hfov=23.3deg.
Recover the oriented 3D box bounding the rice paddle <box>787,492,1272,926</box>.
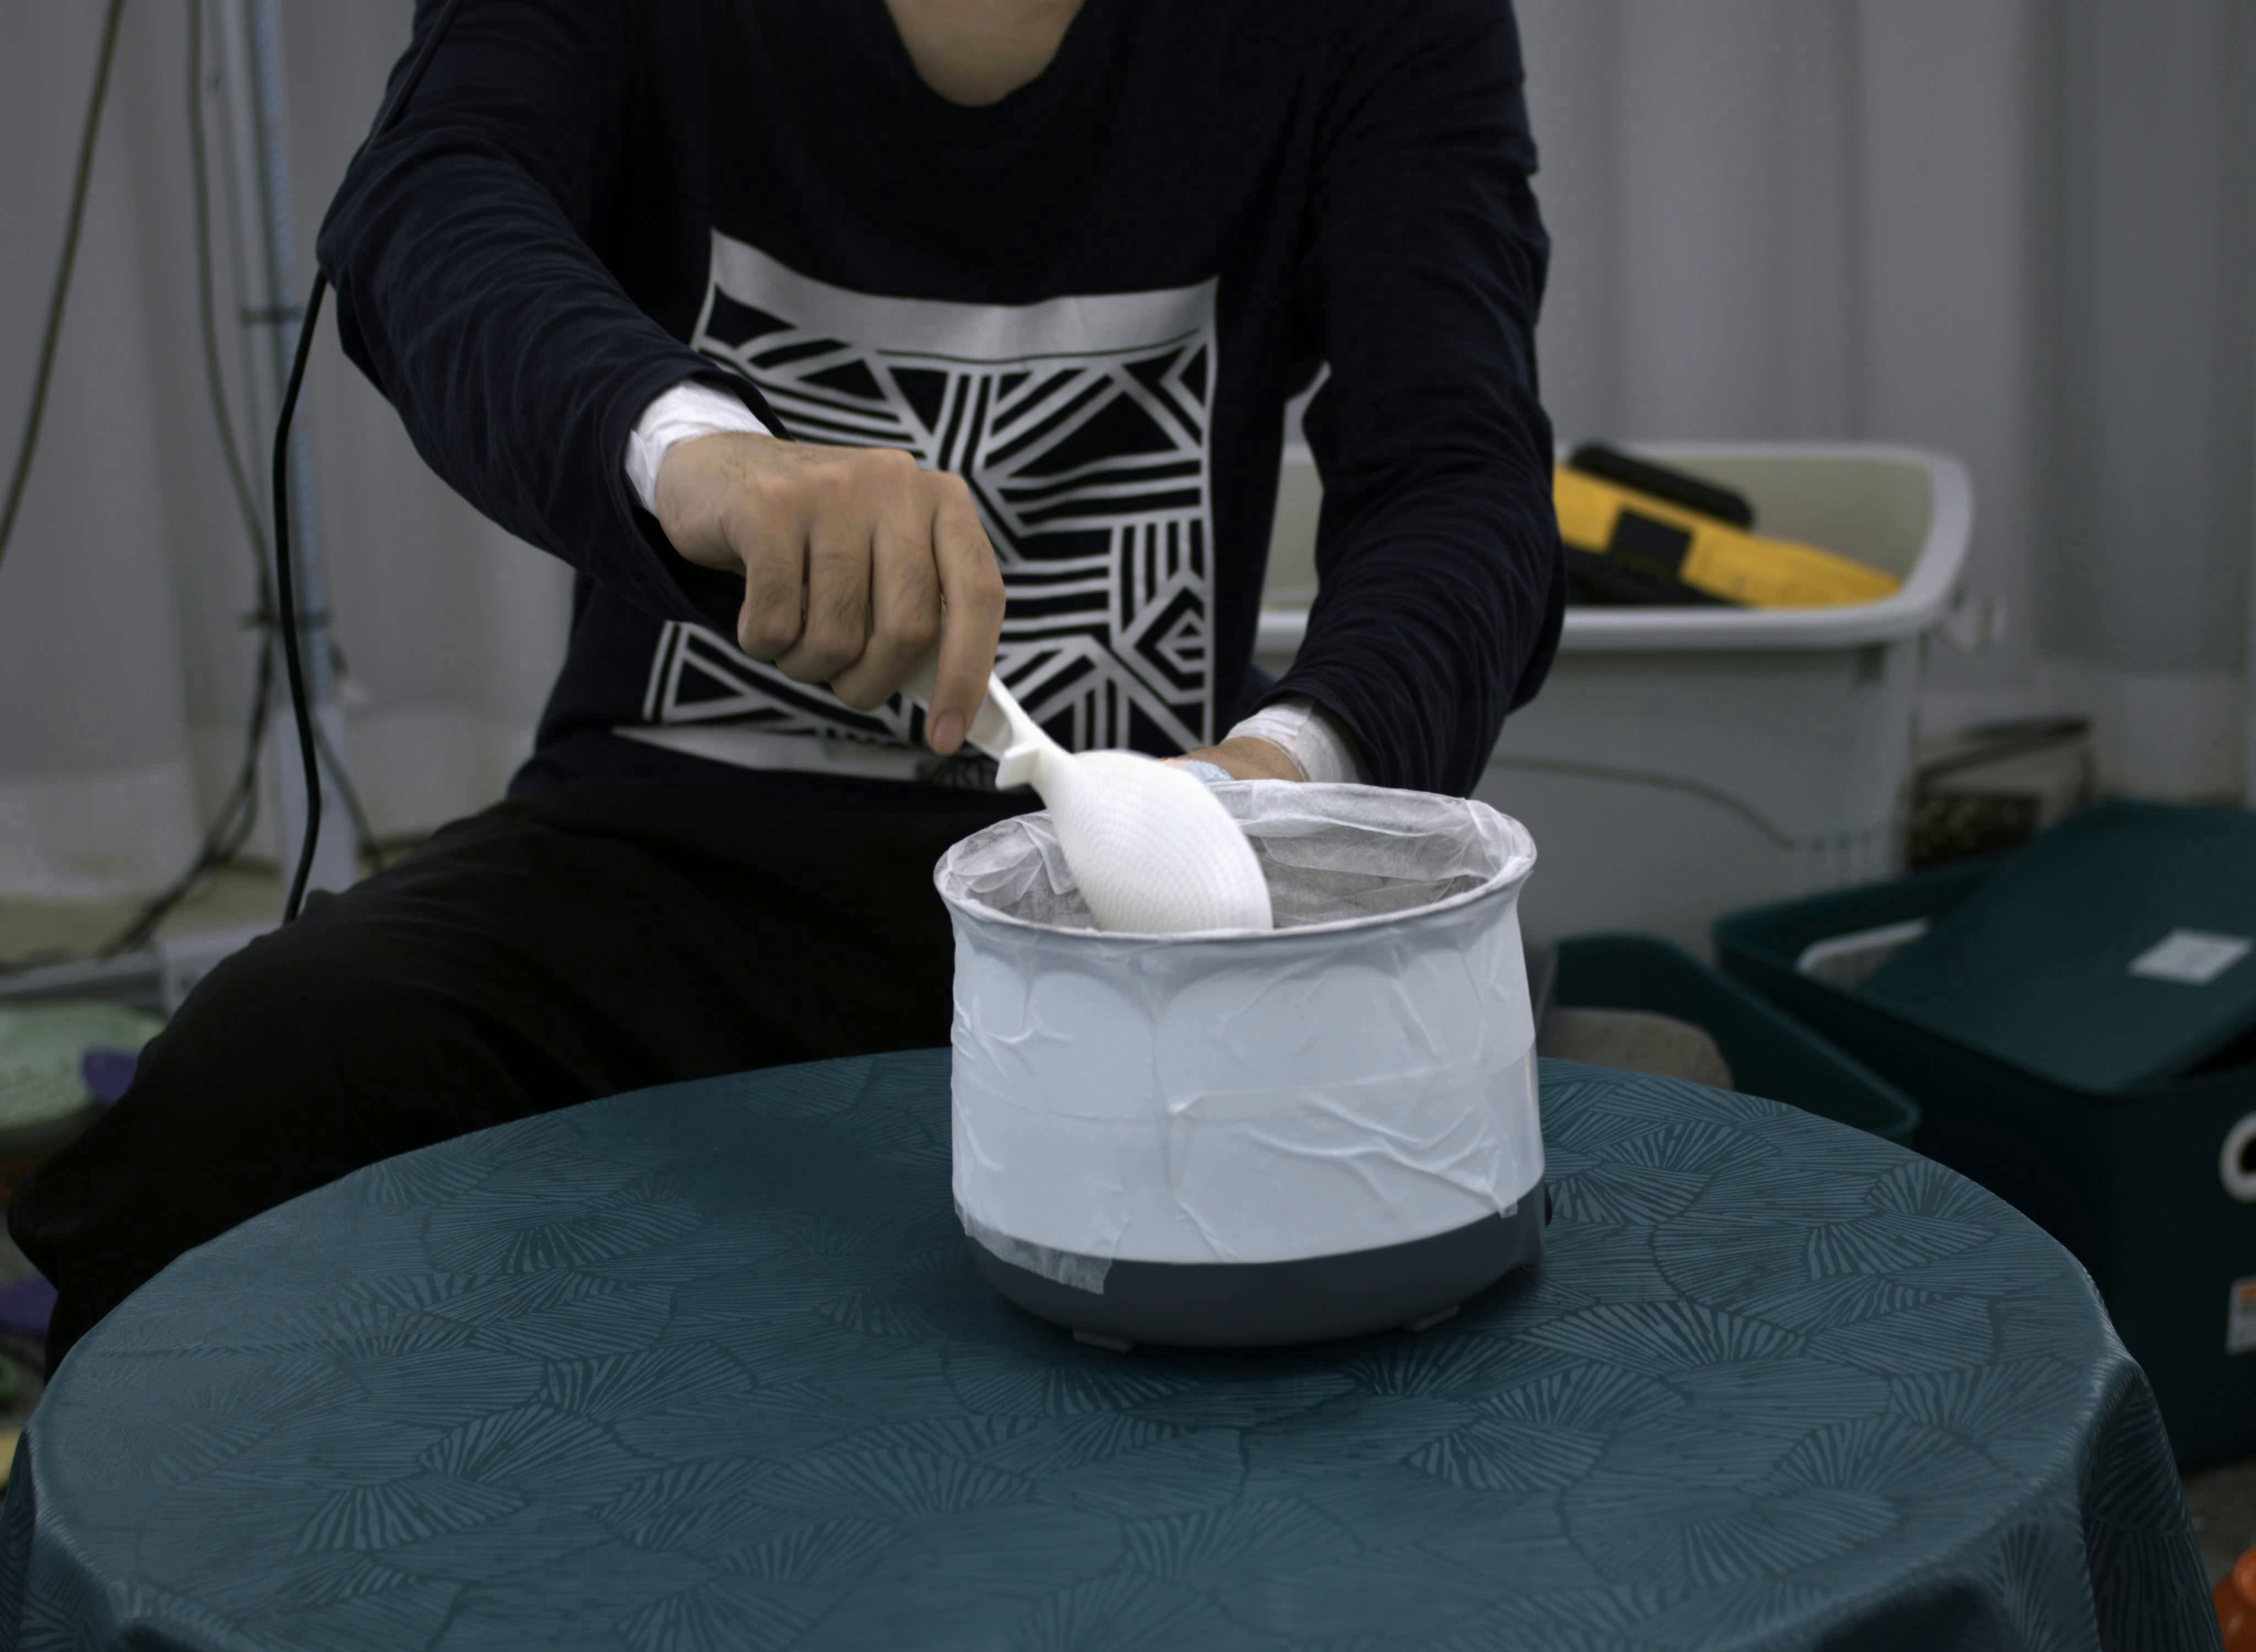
[{"bbox_3d":[-0.025,-0.032,1.609,0.029,0.068,0.207,-15,44,-42],"label":"rice paddle"}]

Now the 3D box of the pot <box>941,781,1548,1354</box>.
[{"bbox_3d":[0.032,0.067,1.641,0.178,0.136,0.235,-2,12,-5],"label":"pot"}]
